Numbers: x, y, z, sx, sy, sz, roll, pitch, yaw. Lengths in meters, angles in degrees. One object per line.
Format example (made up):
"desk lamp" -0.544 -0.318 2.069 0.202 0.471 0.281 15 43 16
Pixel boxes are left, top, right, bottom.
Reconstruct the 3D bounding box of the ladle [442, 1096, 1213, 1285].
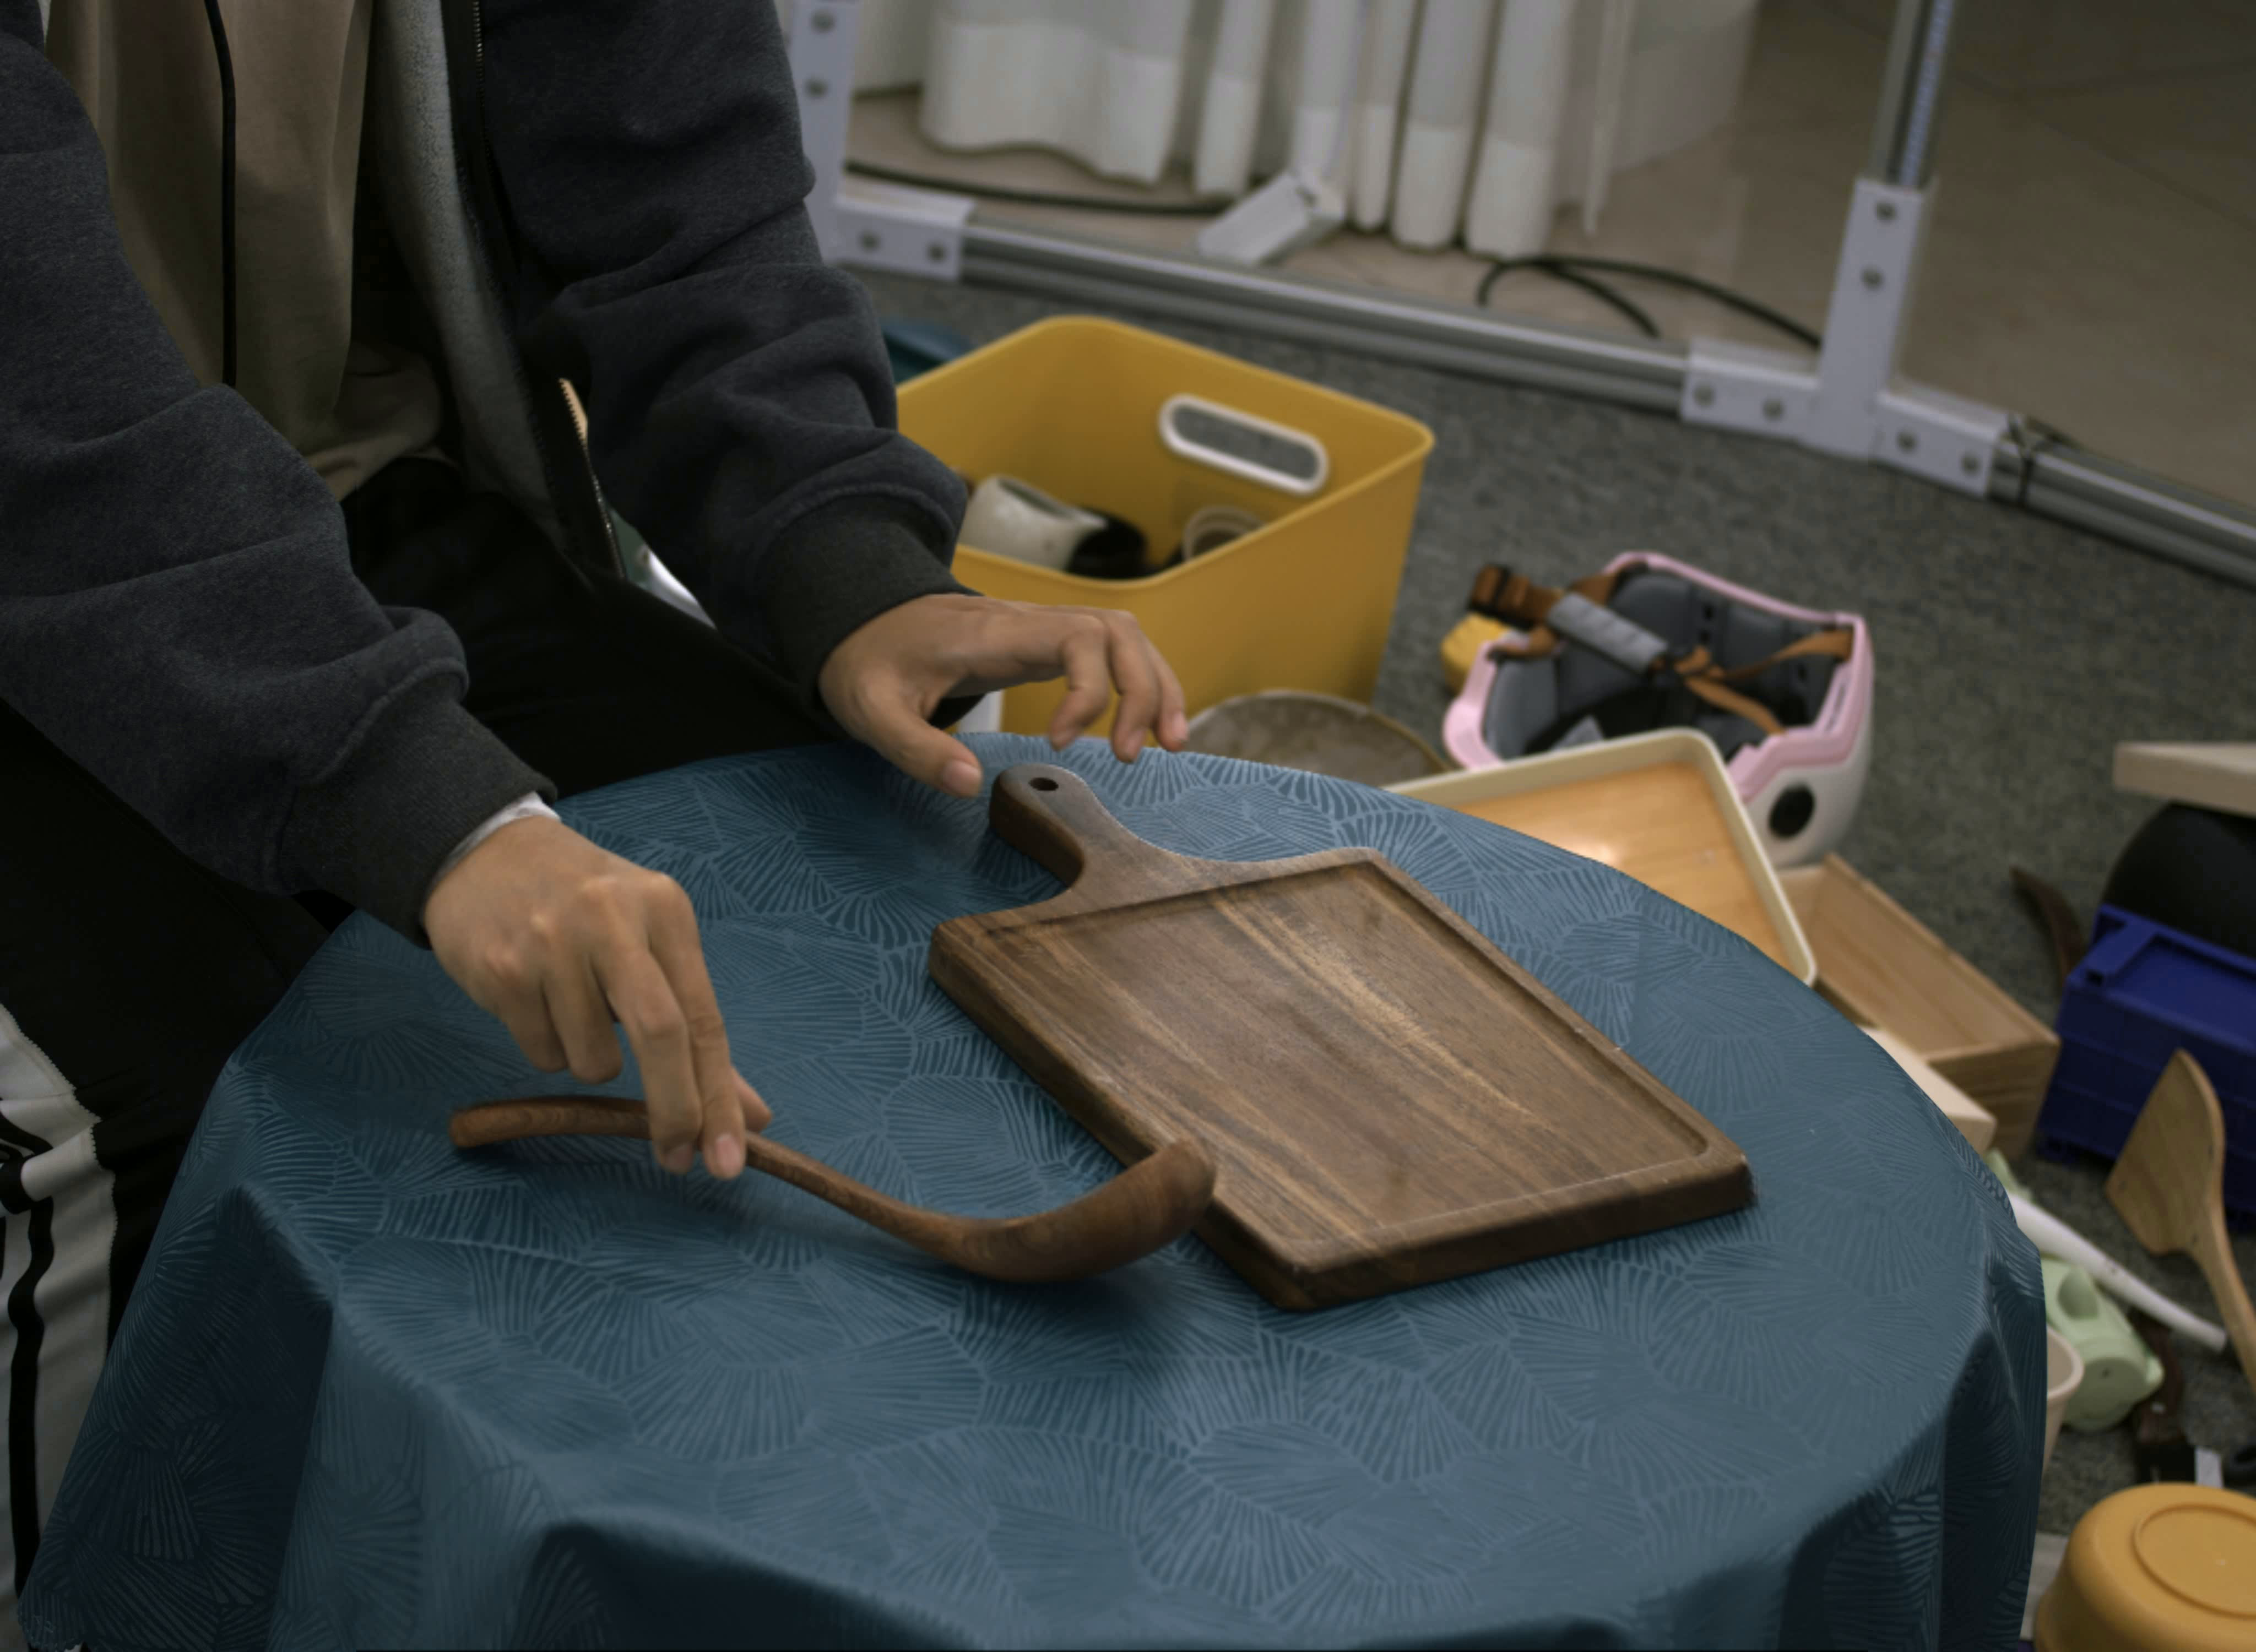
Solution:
"ladle" -0.100 0.103 1.750 0.260 0.065 0.076 13 -1 14

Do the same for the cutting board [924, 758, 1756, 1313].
"cutting board" 0.046 0.061 1.909 0.200 0.023 0.355 -9 31 -30
